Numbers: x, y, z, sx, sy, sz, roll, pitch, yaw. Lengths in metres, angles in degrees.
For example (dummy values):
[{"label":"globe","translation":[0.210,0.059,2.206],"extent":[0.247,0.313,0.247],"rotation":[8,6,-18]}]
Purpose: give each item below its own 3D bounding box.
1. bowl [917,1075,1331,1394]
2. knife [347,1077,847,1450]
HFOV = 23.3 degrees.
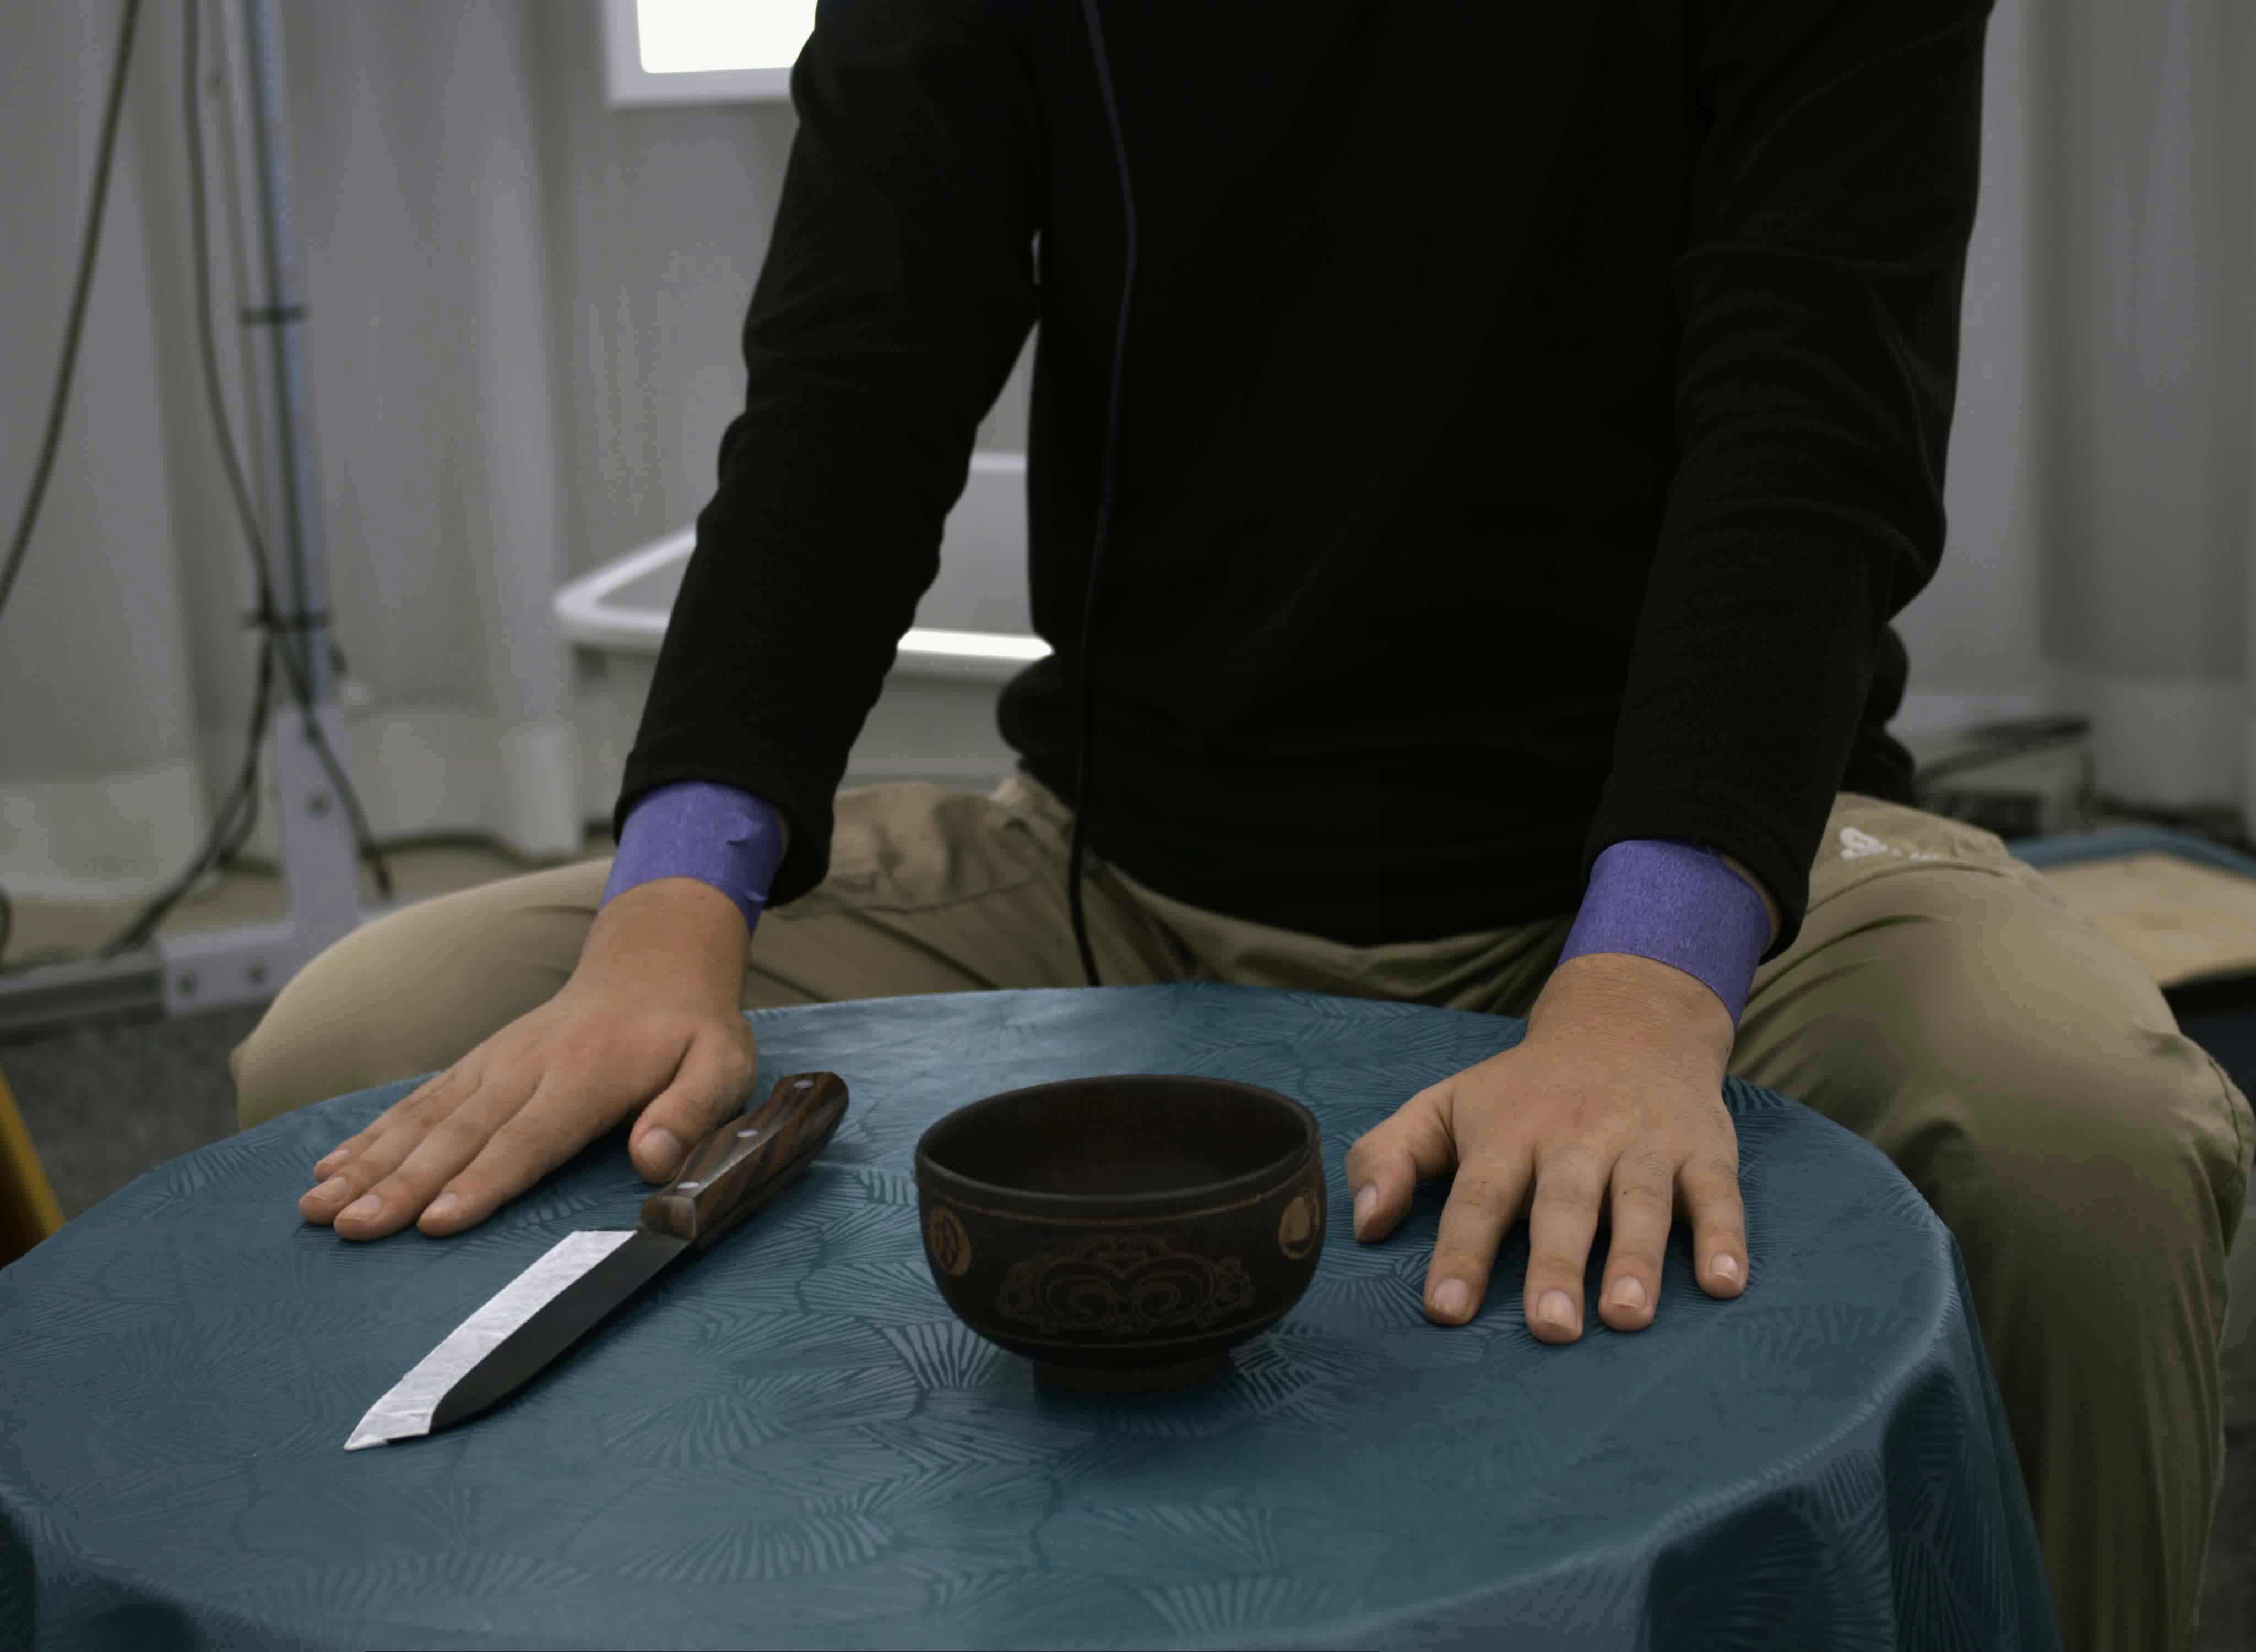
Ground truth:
[{"label":"bowl","translation":[0.000,0.120,1.559],"extent":[0.117,0.069,0.119],"rotation":[-3,13,0]},{"label":"knife","translation":[-0.156,0.132,1.651],"extent":[0.050,0.020,0.290],"rotation":[-1,17,25]}]
